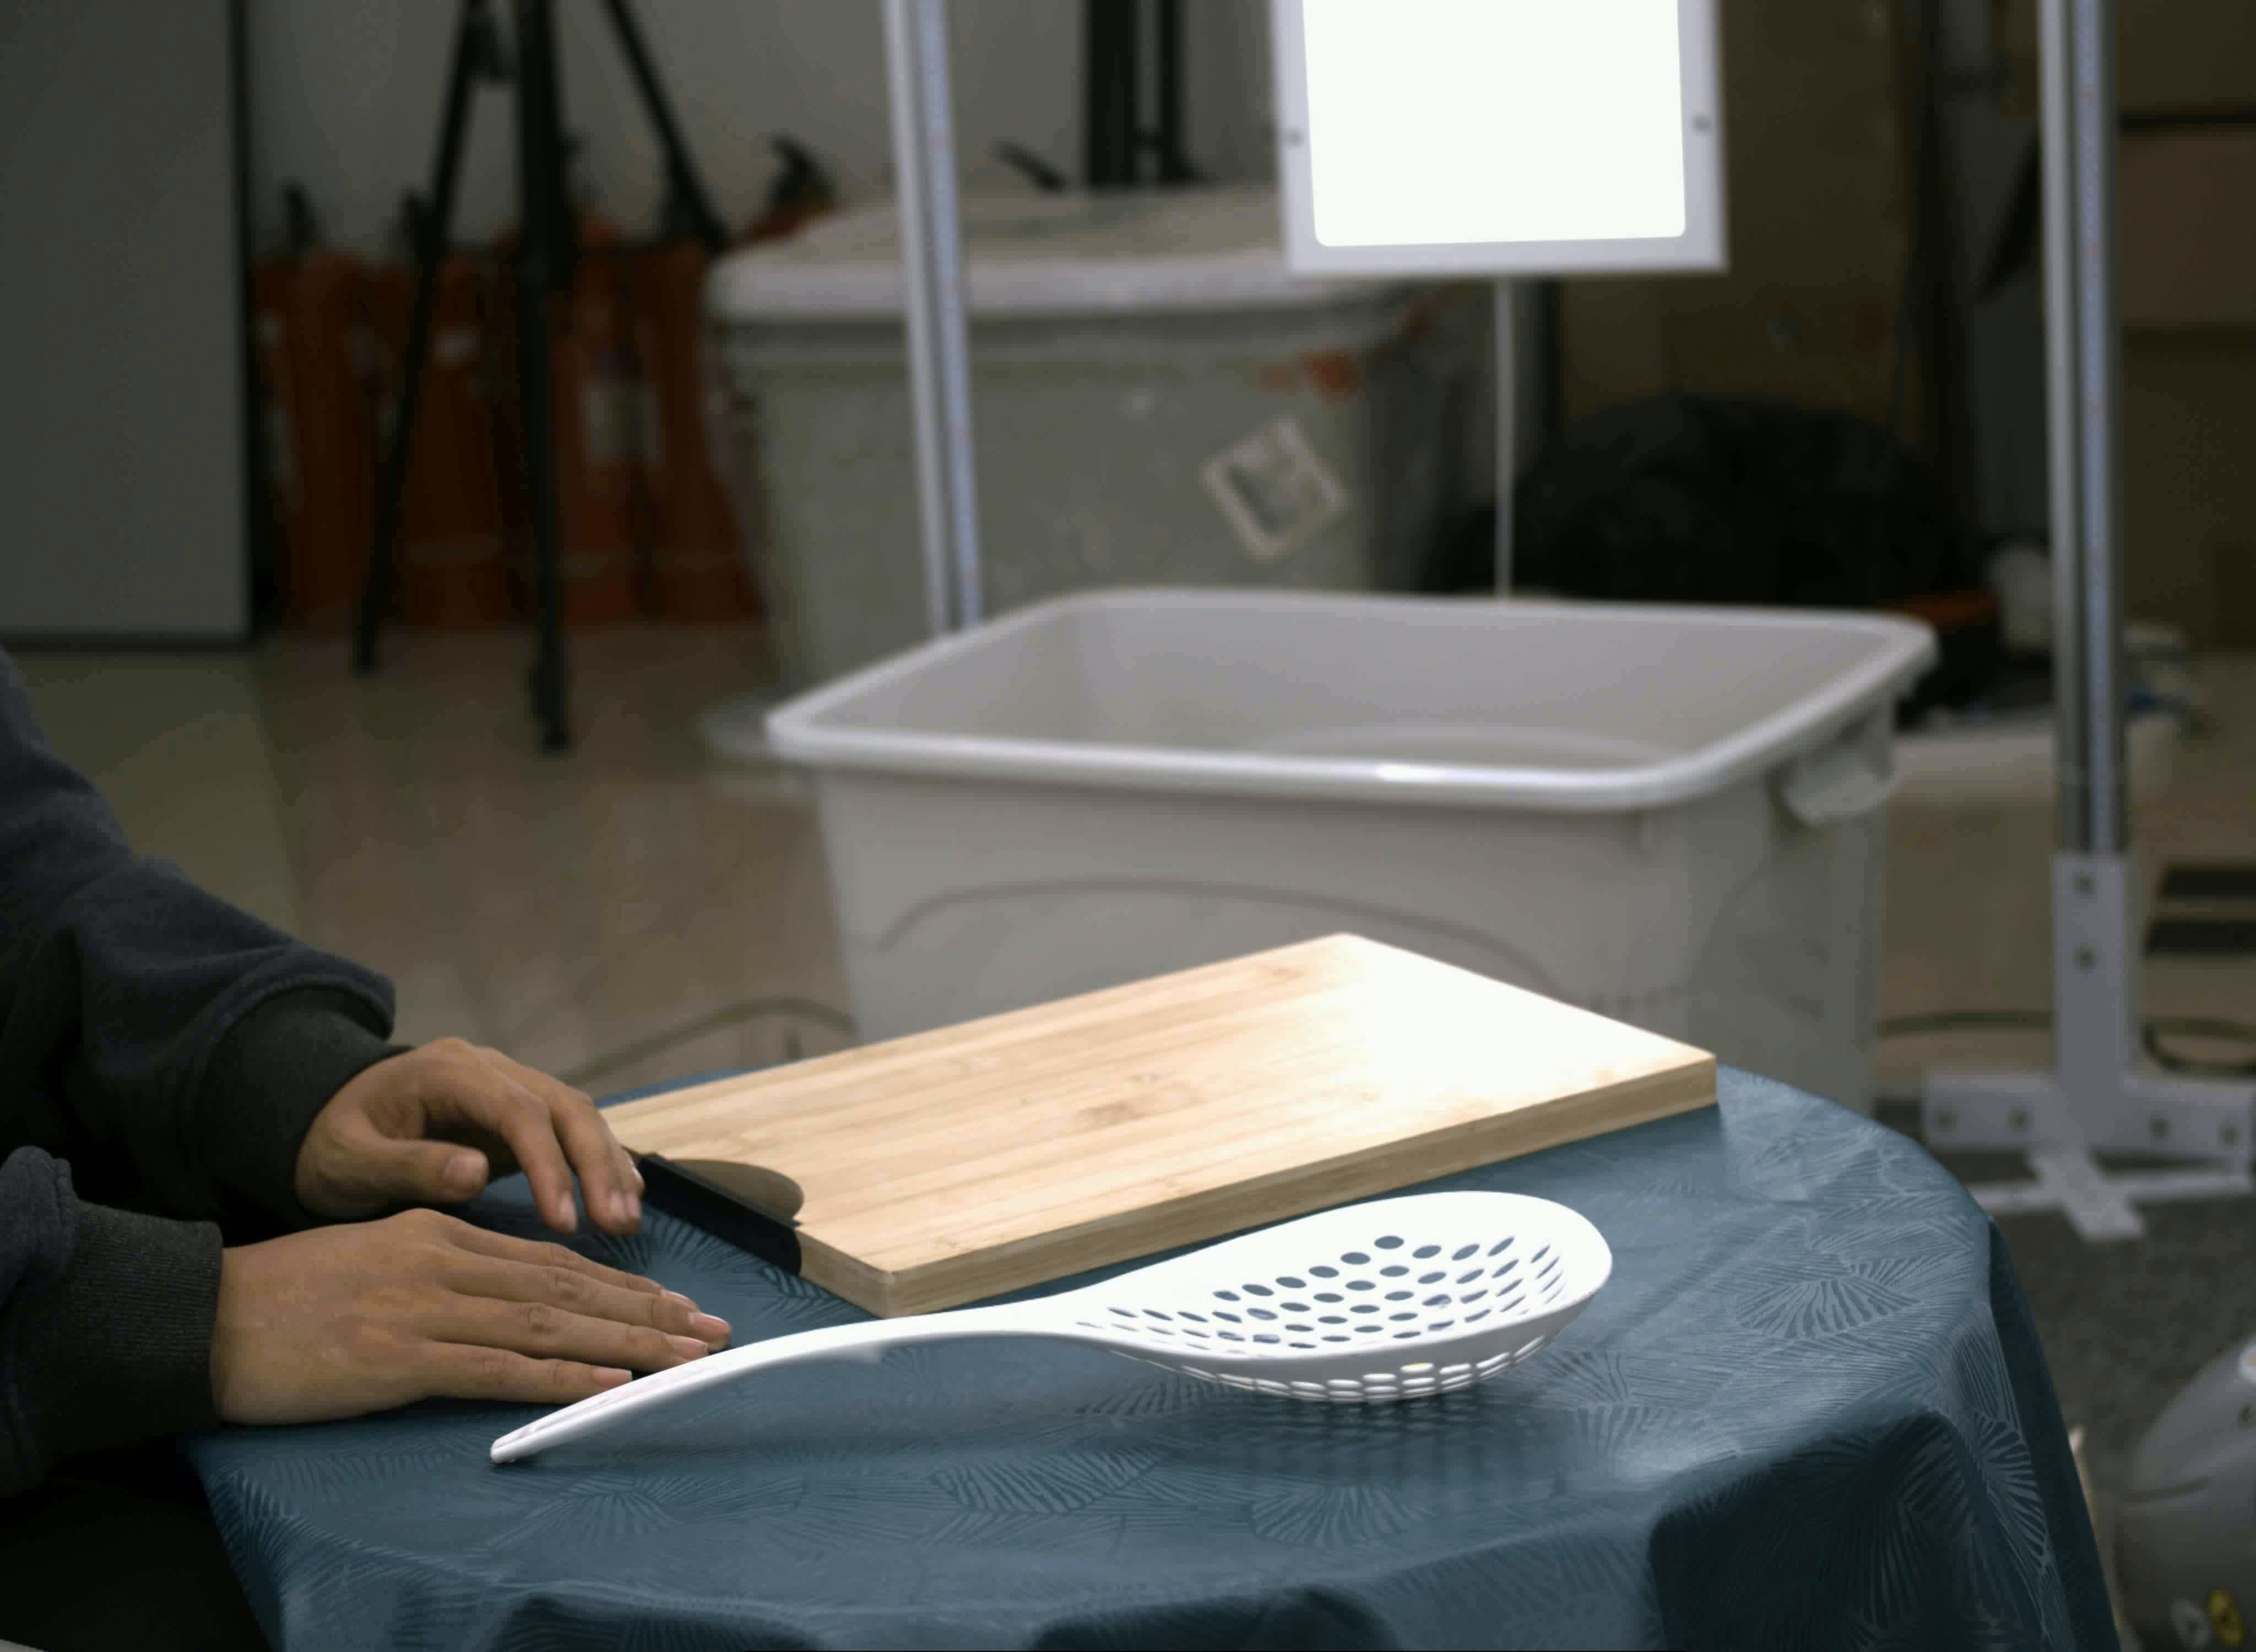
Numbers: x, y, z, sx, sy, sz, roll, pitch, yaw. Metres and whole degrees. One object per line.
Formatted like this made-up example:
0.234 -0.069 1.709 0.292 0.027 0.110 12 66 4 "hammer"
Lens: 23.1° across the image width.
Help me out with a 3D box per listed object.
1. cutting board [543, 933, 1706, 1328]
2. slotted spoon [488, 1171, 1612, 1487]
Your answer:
0.000 0.103 1.959 0.341 0.023 0.255 -13 15 -29 "cutting board"
-0.024 0.160 1.682 0.347 0.050 0.136 -5 16 0 "slotted spoon"
